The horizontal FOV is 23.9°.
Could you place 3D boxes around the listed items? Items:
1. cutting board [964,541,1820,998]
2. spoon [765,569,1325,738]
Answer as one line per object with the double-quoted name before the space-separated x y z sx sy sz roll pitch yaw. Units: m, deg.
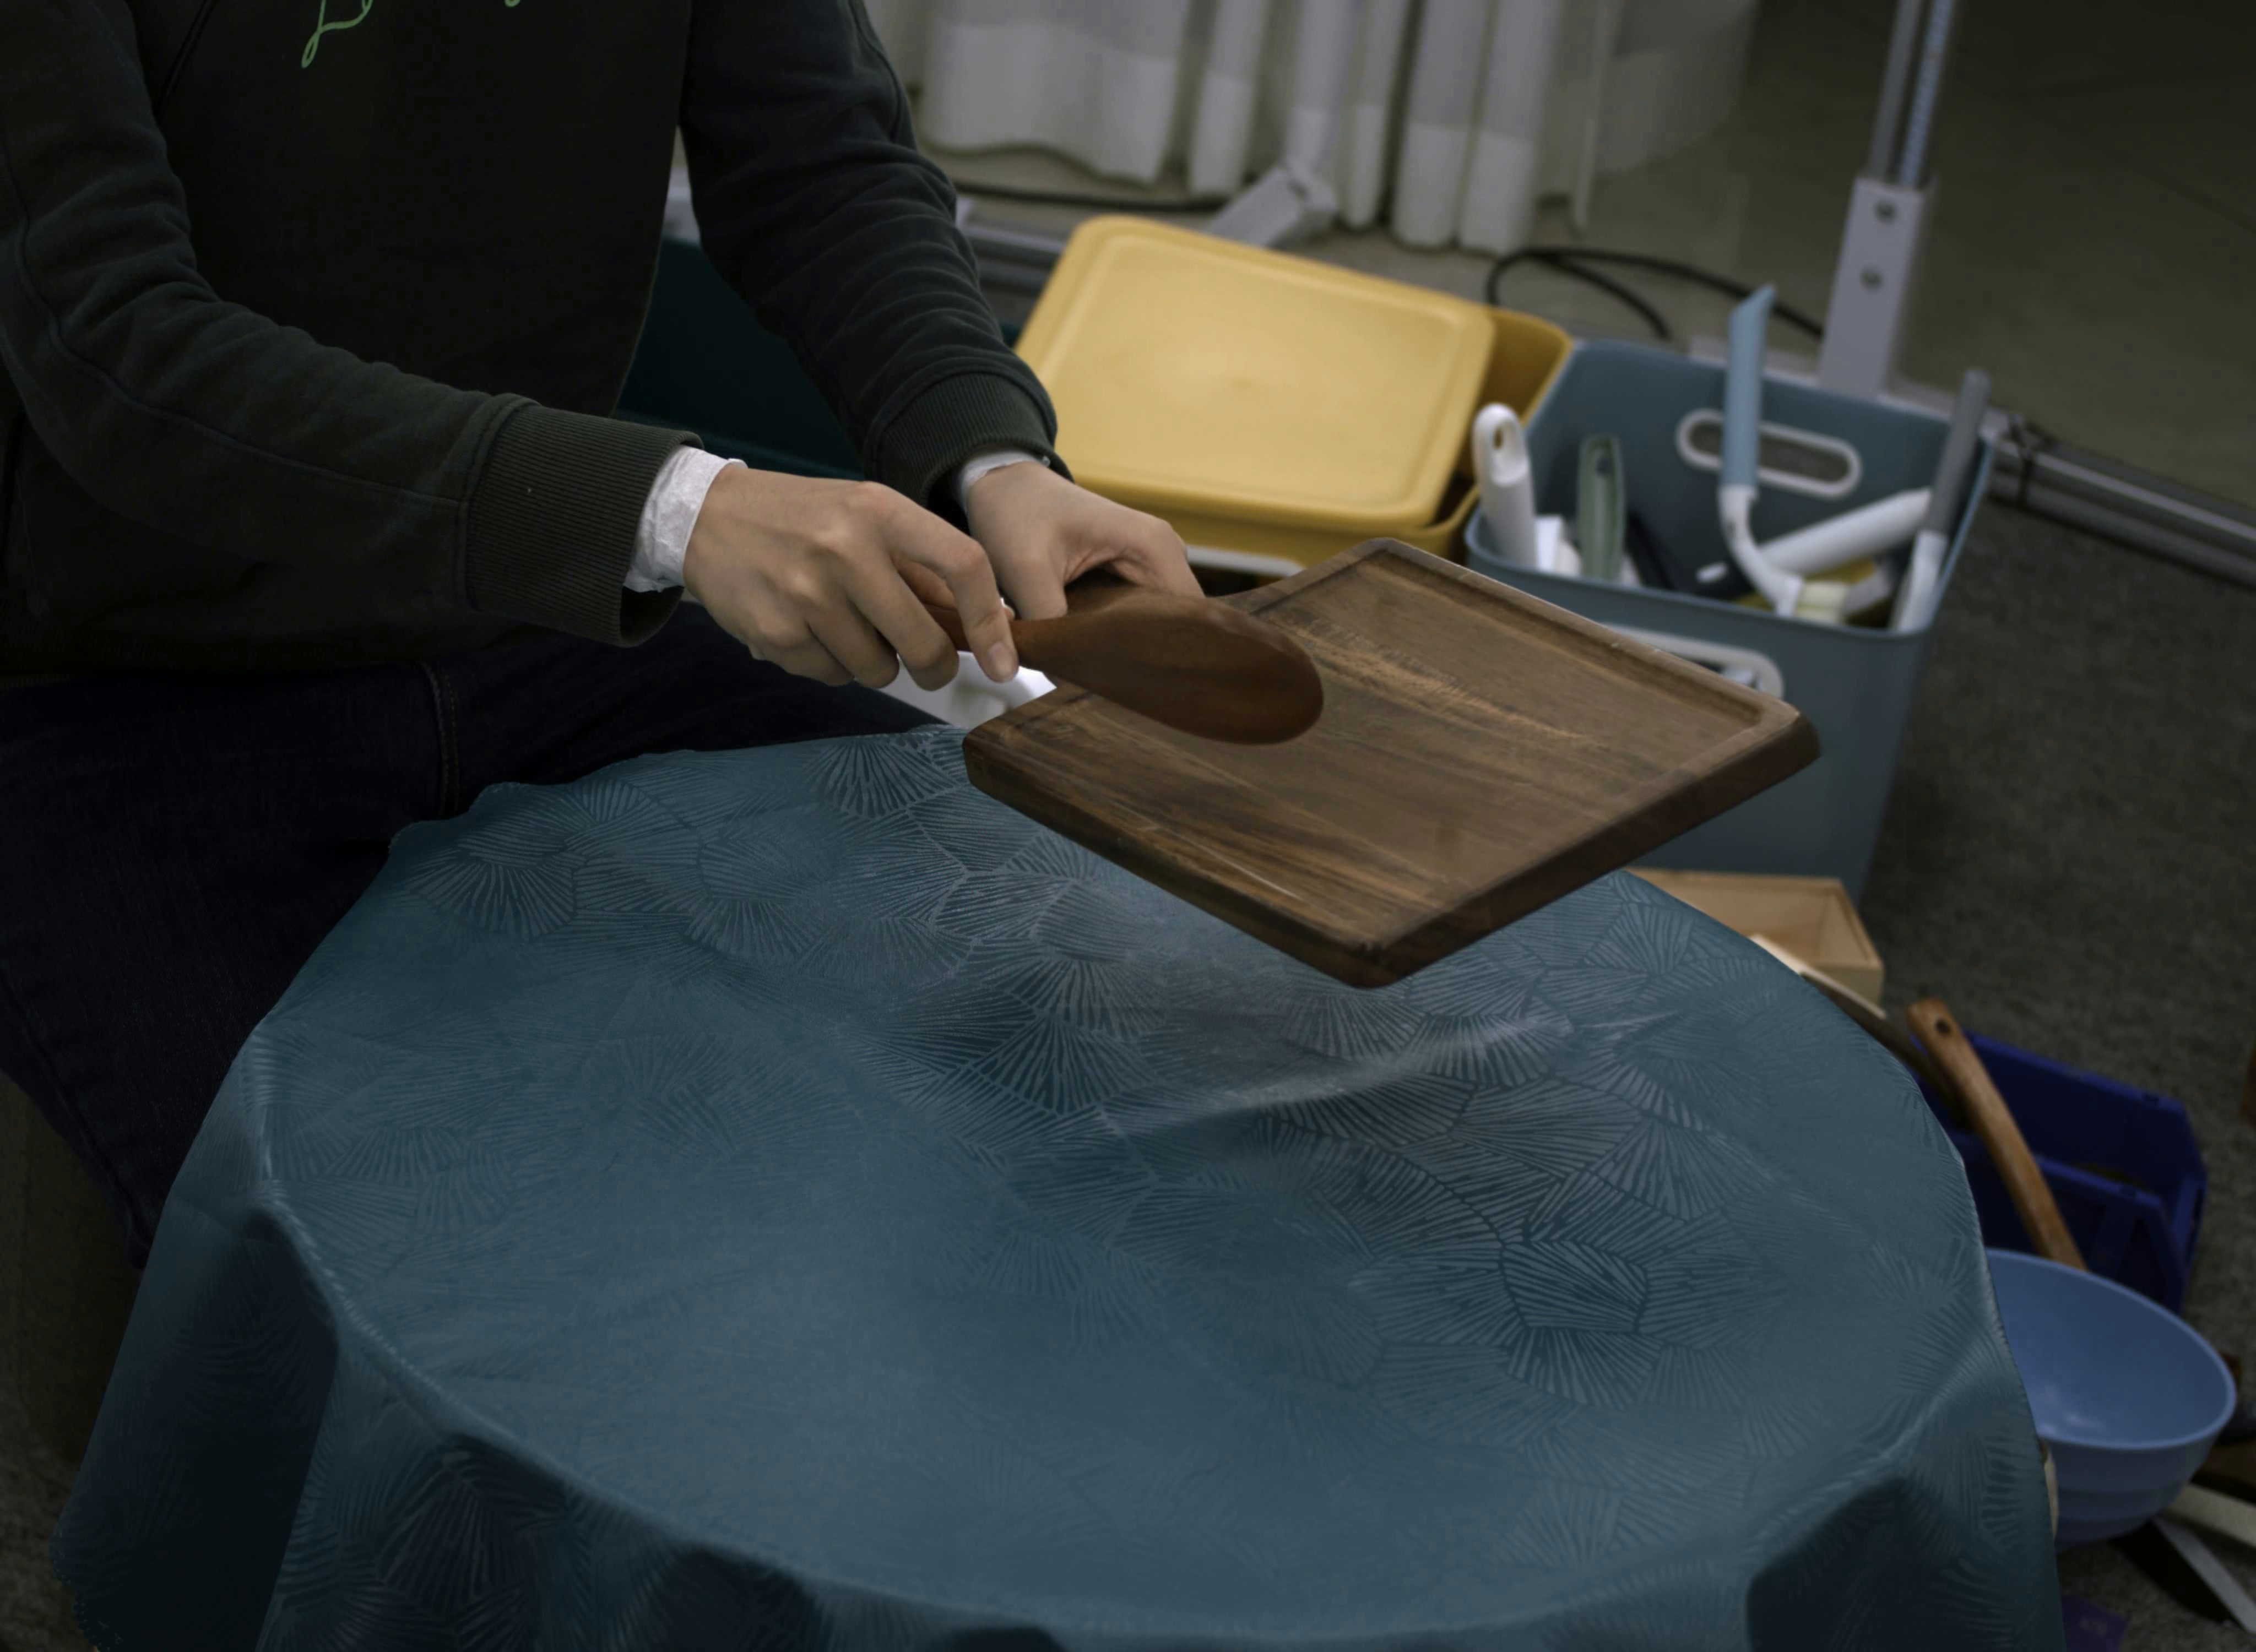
"cutting board" 0.060 -0.039 1.884 0.200 0.023 0.355 -27 30 -24
"spoon" -0.032 -0.062 1.824 0.217 0.075 0.017 11 62 28
